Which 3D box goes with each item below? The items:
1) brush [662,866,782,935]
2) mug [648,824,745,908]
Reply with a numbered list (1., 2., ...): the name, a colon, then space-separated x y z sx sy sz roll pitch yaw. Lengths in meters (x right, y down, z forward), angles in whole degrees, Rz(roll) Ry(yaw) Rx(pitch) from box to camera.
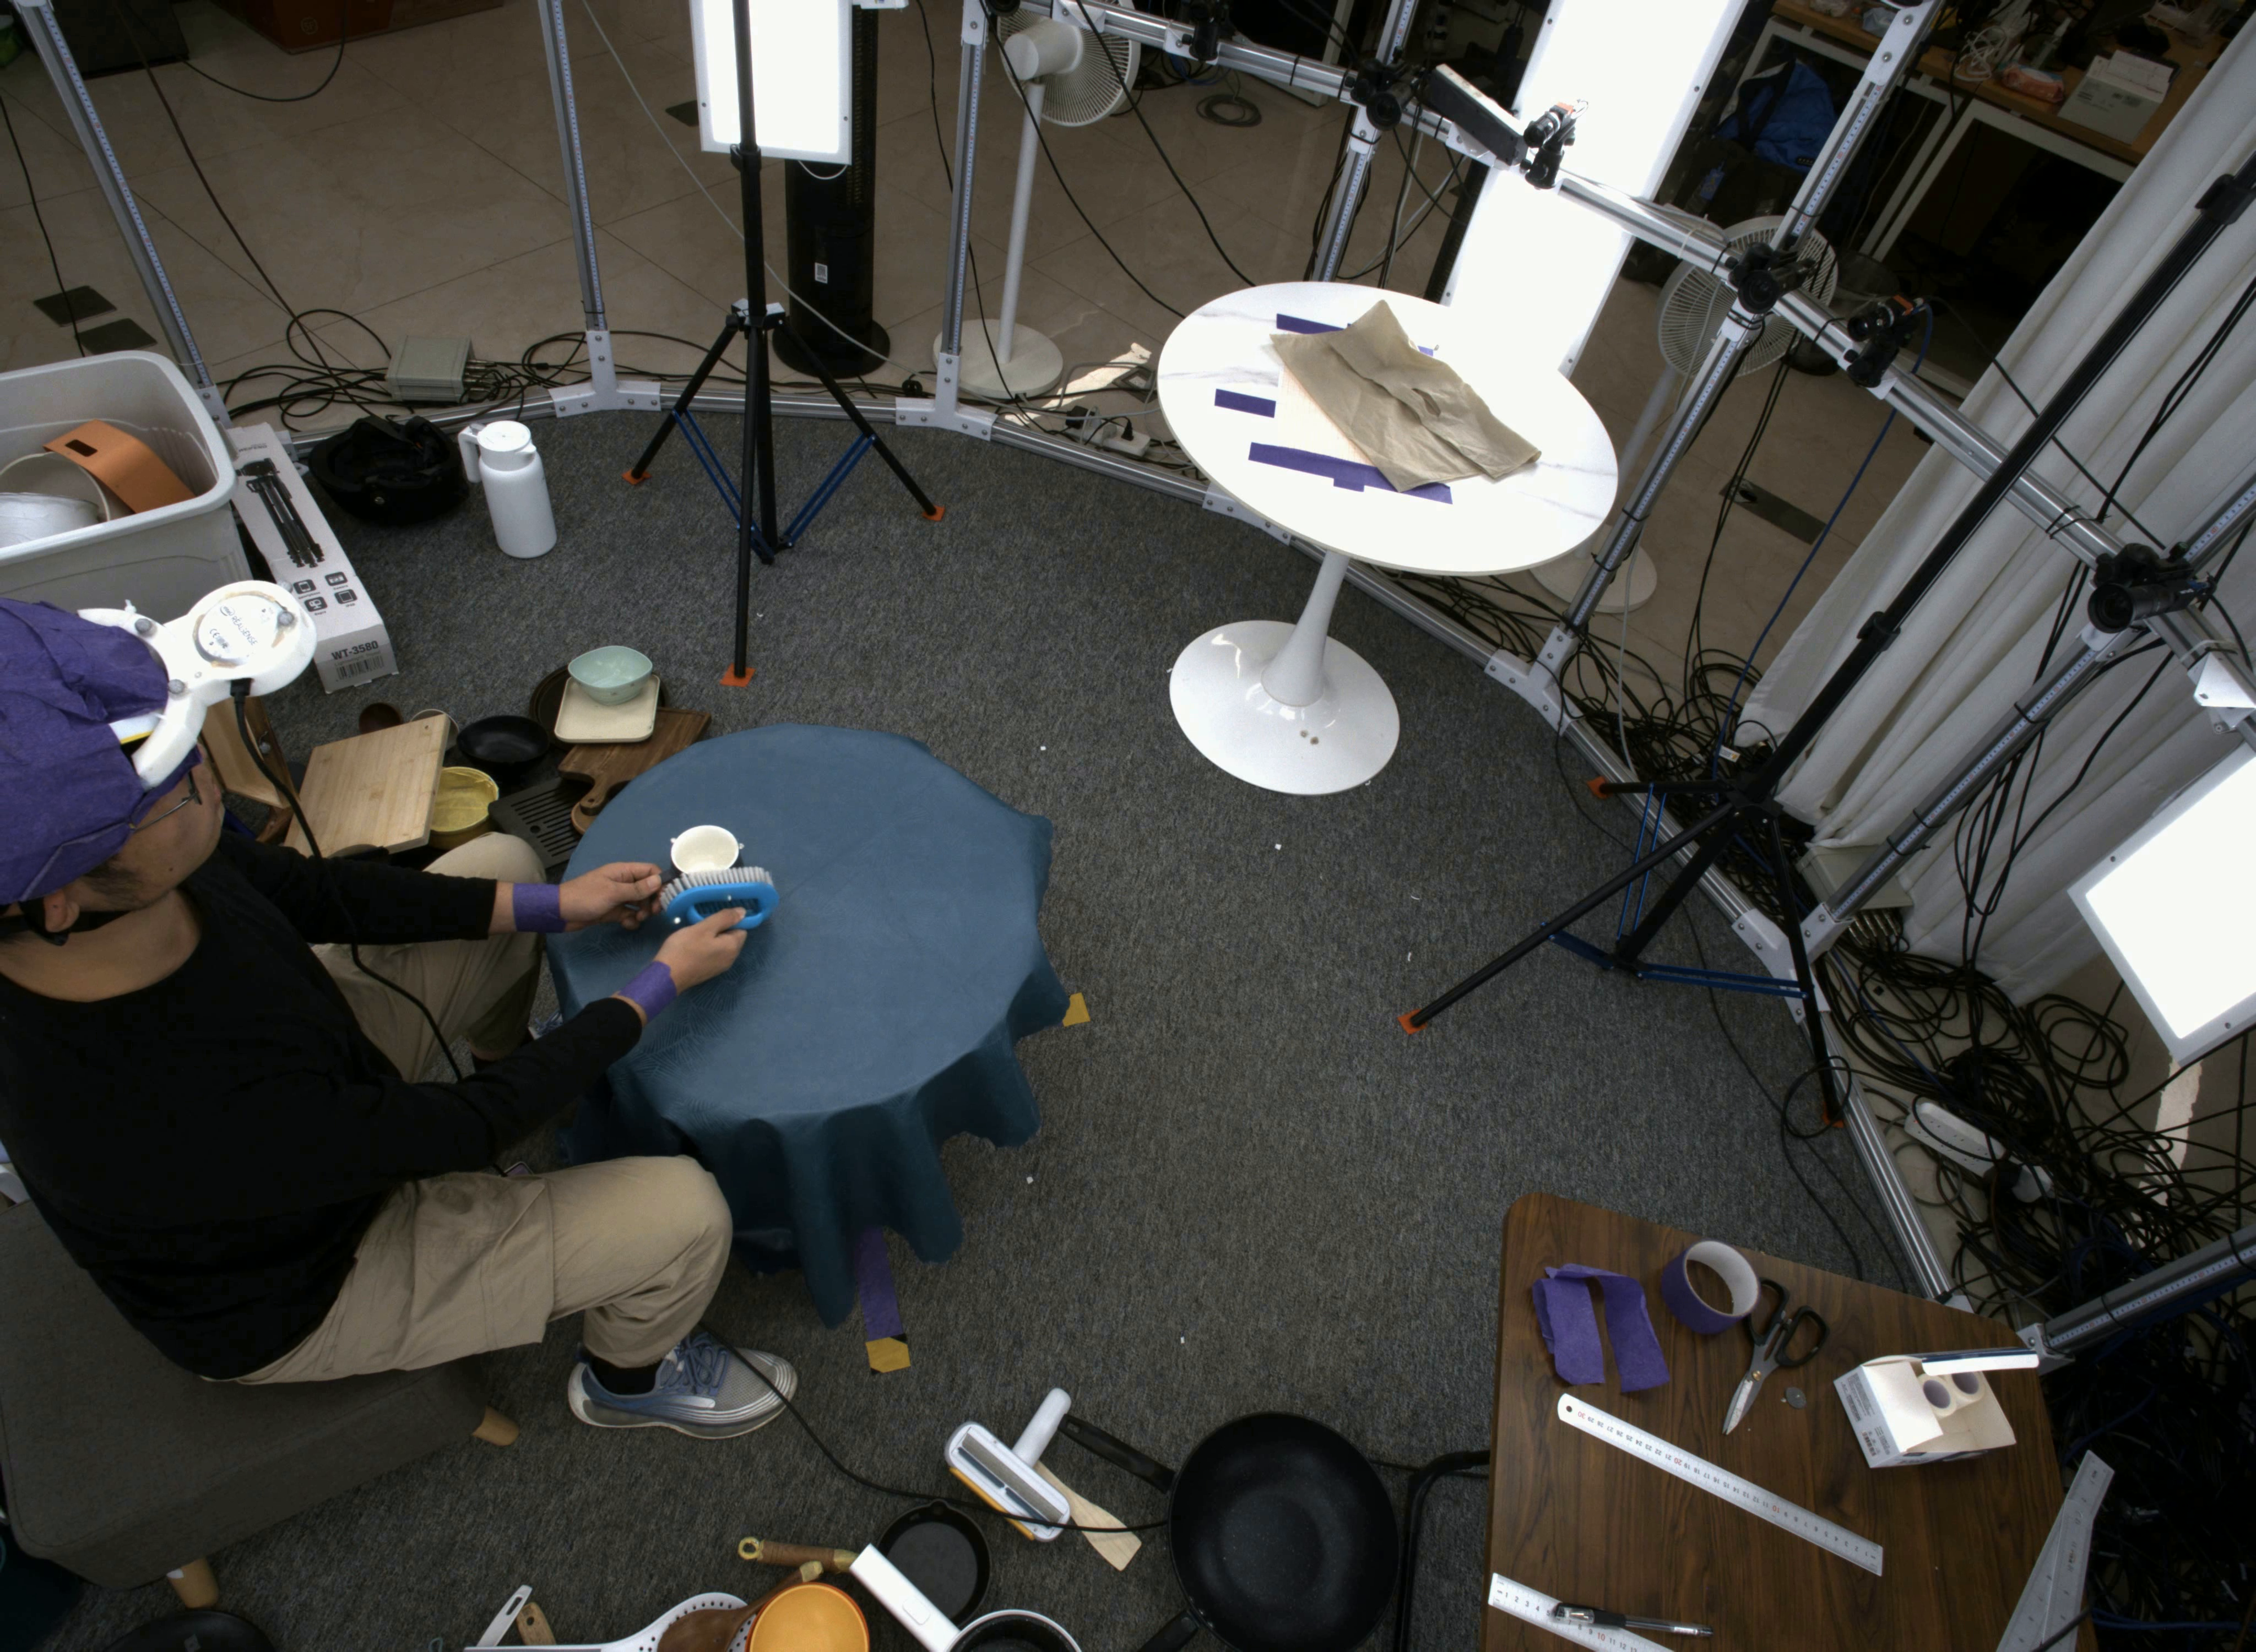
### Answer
1. brush: -0.484 0.096 1.552 0.144 0.085 0.062 -1 47 -39
2. mug: -0.534 0.060 1.594 0.124 0.092 0.091 -24 61 -30
